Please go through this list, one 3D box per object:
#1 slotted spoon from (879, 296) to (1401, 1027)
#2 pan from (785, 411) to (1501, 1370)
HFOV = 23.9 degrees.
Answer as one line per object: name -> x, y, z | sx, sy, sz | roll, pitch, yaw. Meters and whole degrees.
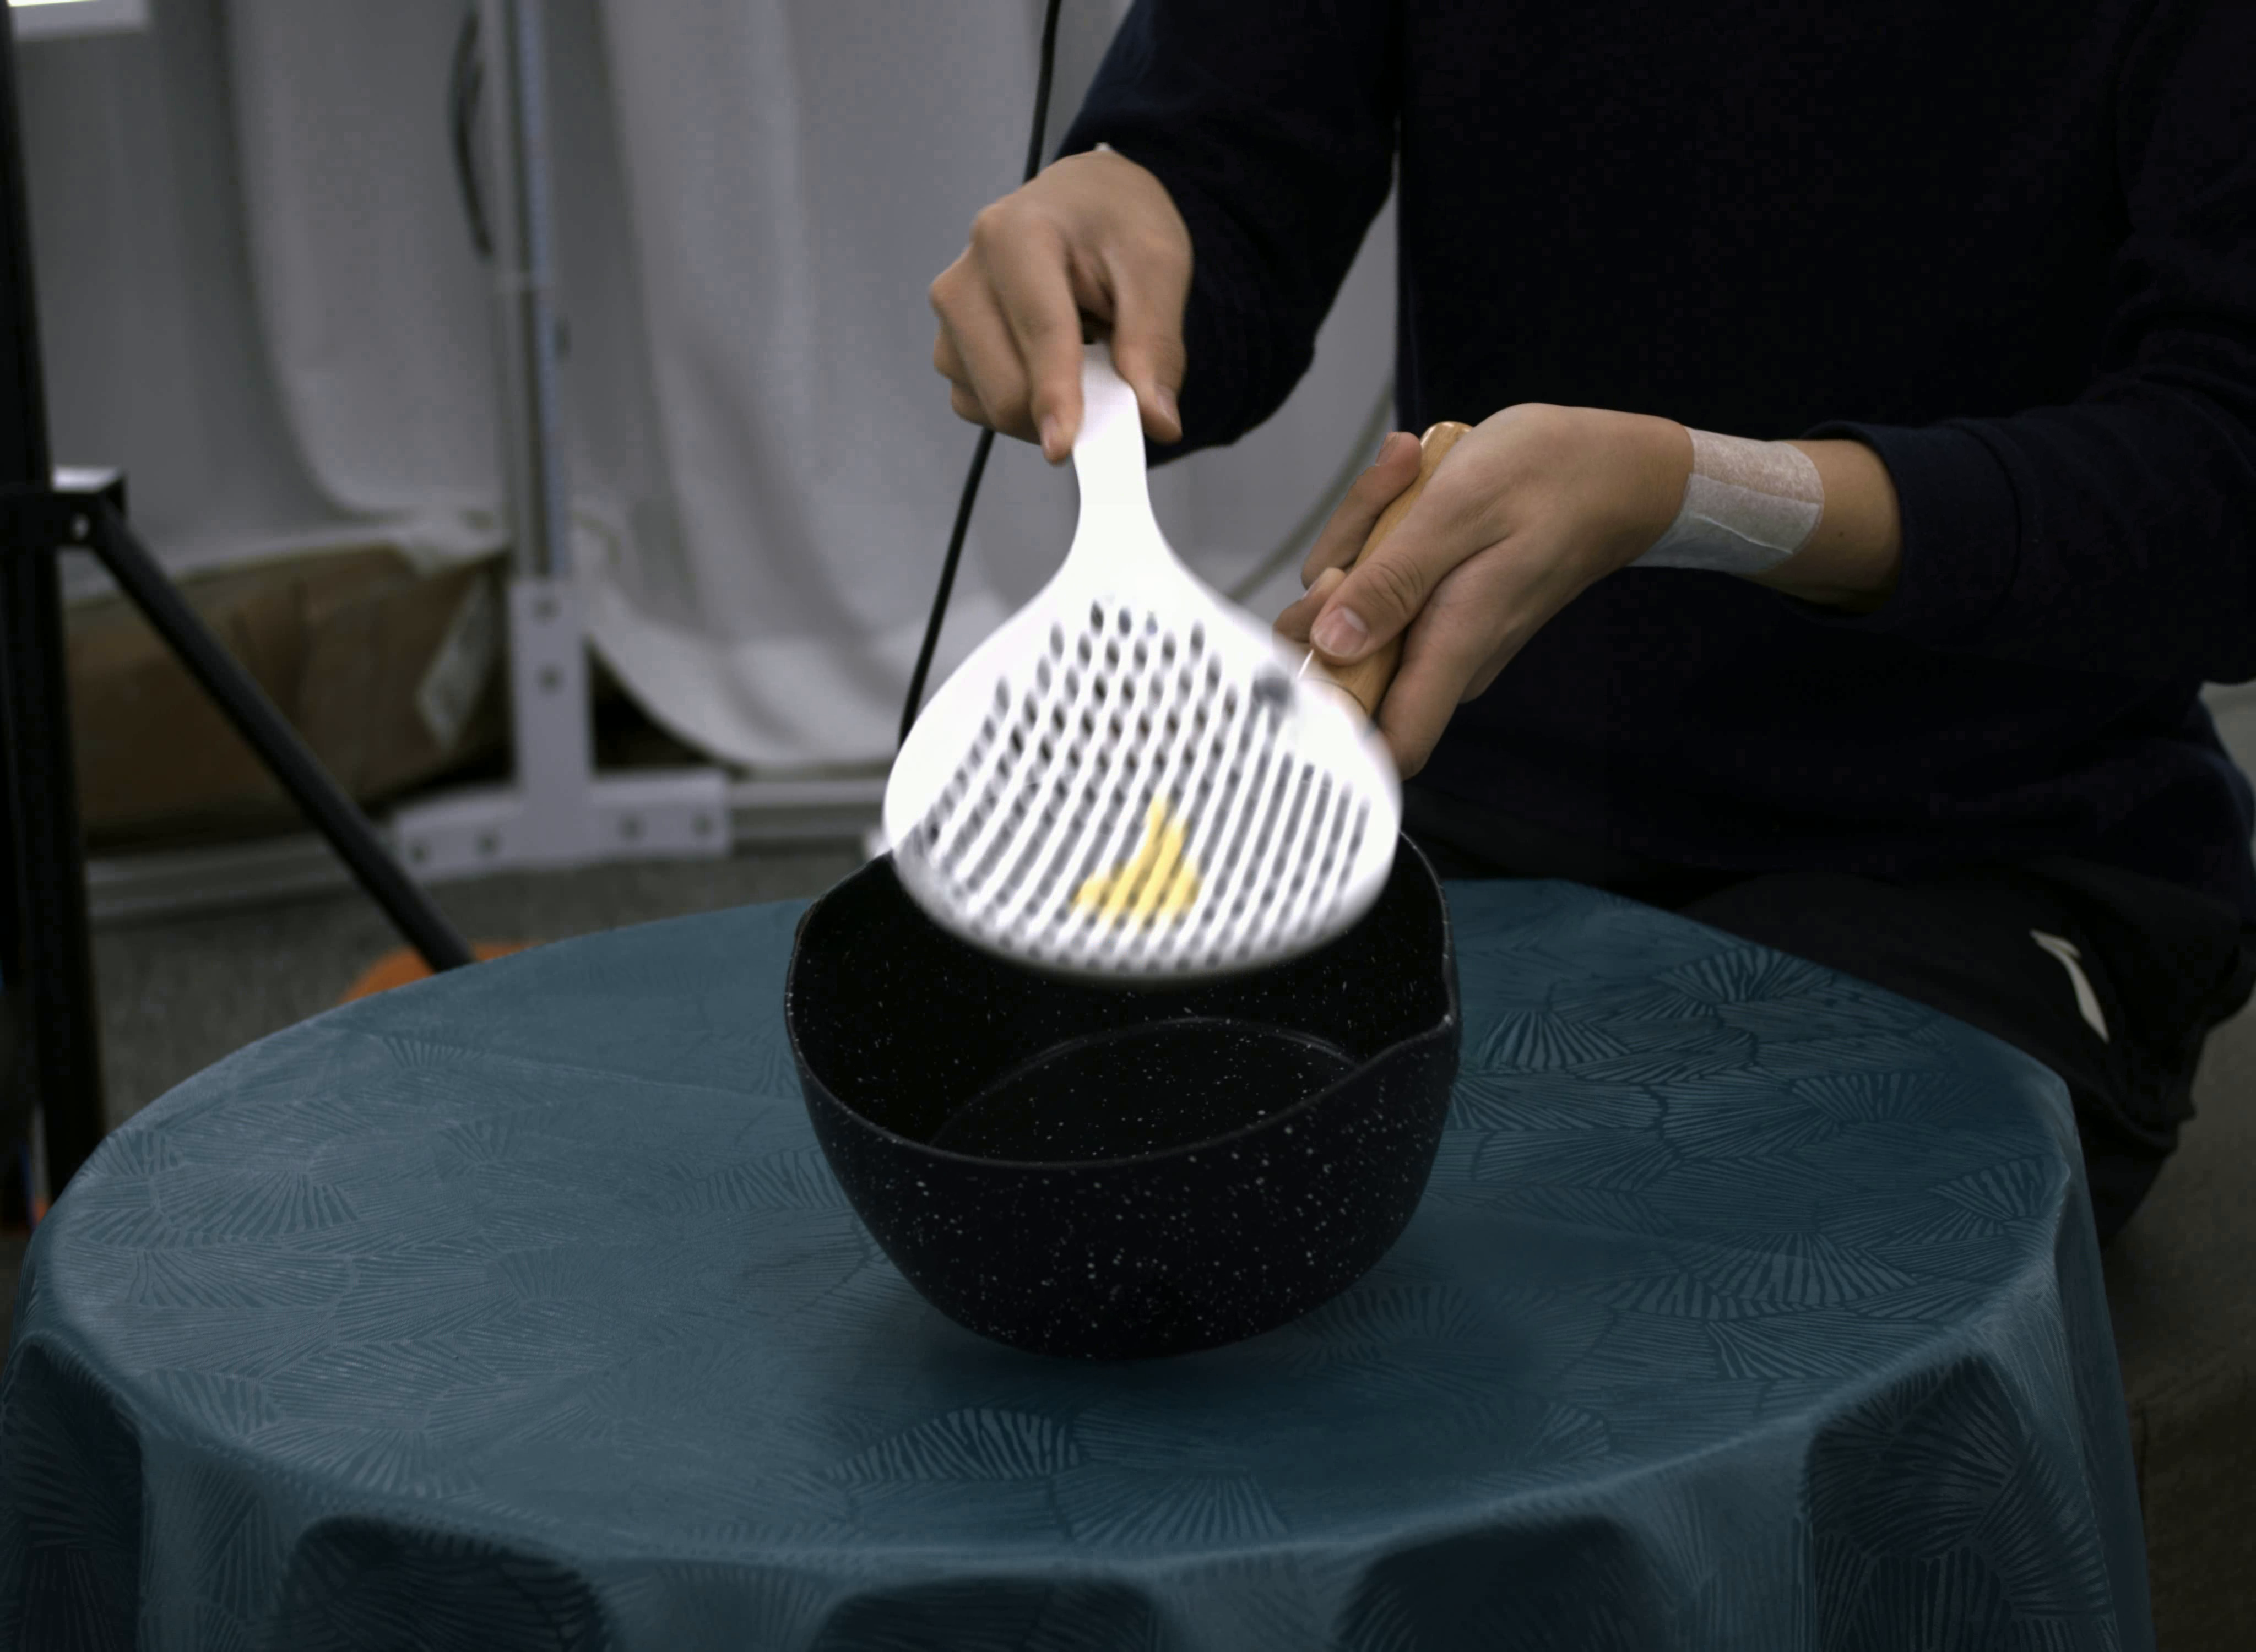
slotted spoon -> -0.004, -0.057, 1.476 | 0.136, 0.050, 0.352 | 0, 43, -4
pan -> 0.034, 0.015, 1.513 | 0.211, 0.107, 0.340 | 8, 39, 26
